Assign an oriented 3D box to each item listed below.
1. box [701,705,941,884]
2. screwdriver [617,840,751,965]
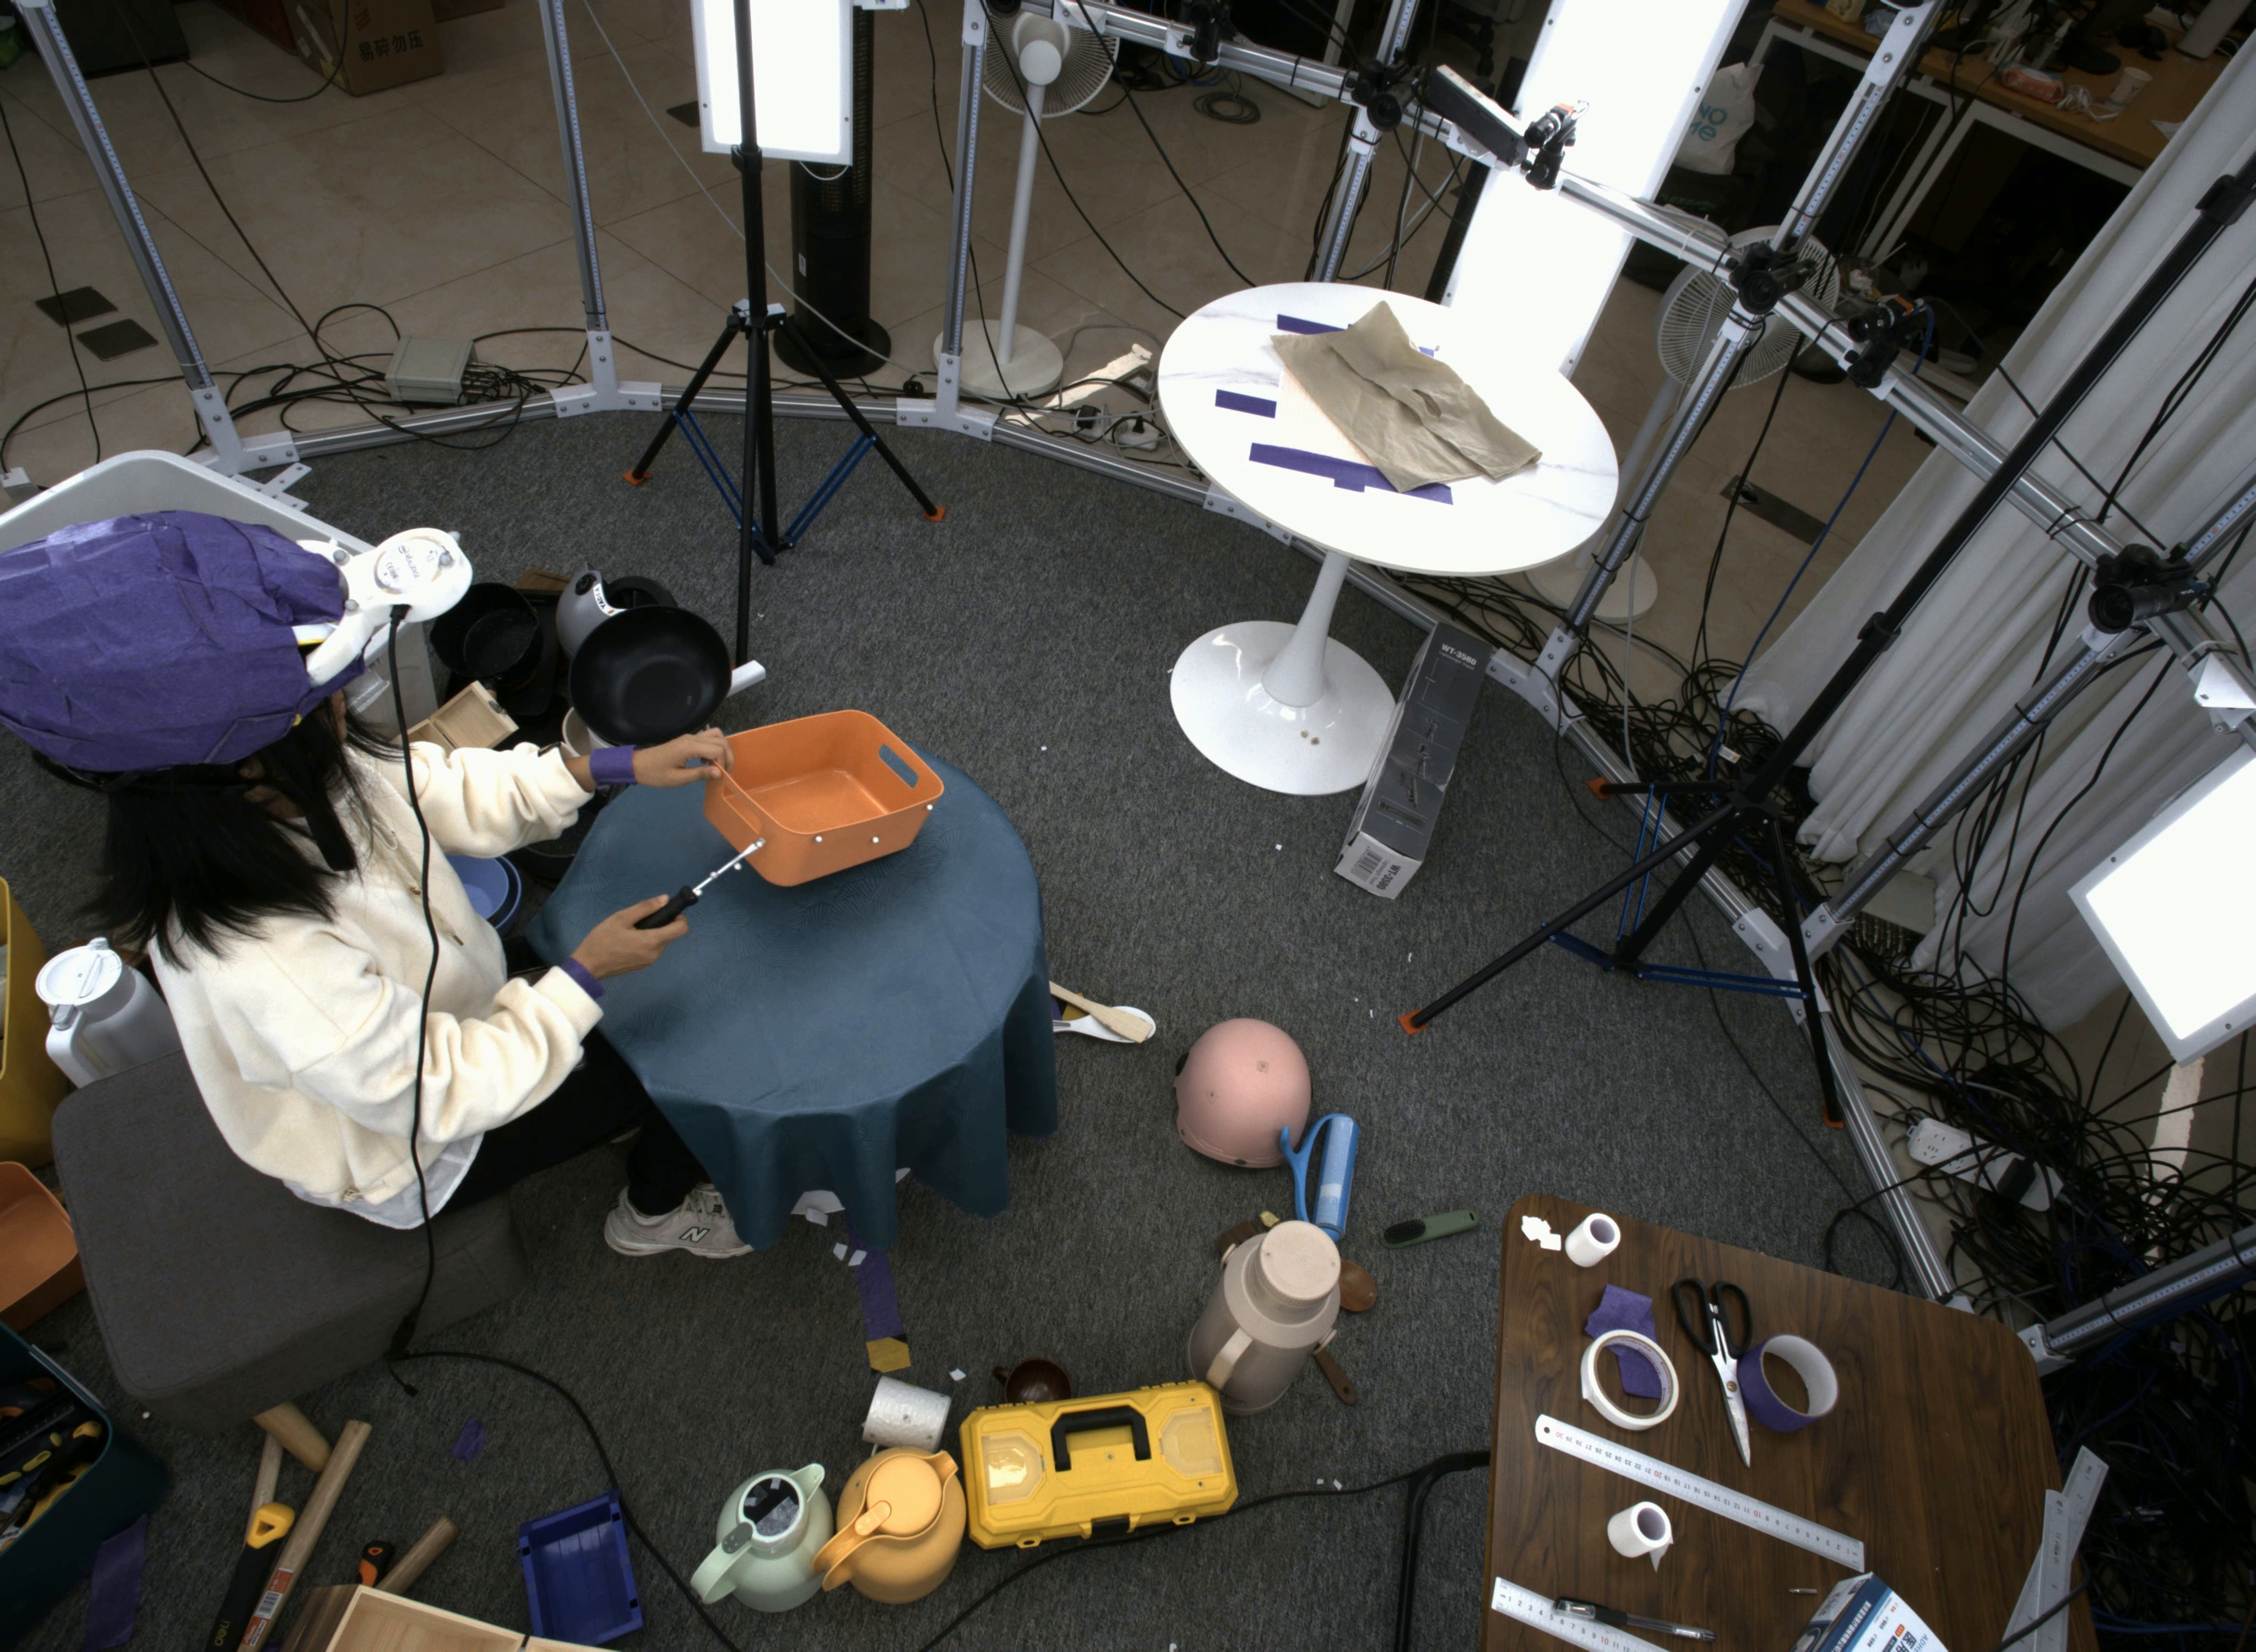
[{"bbox_3d":[-0.394,-0.042,1.642,0.195,0.104,0.276,43,34,18],"label":"box"},{"bbox_3d":[-0.506,0.079,1.461,0.031,0.032,0.198,38,75,17],"label":"screwdriver"}]
